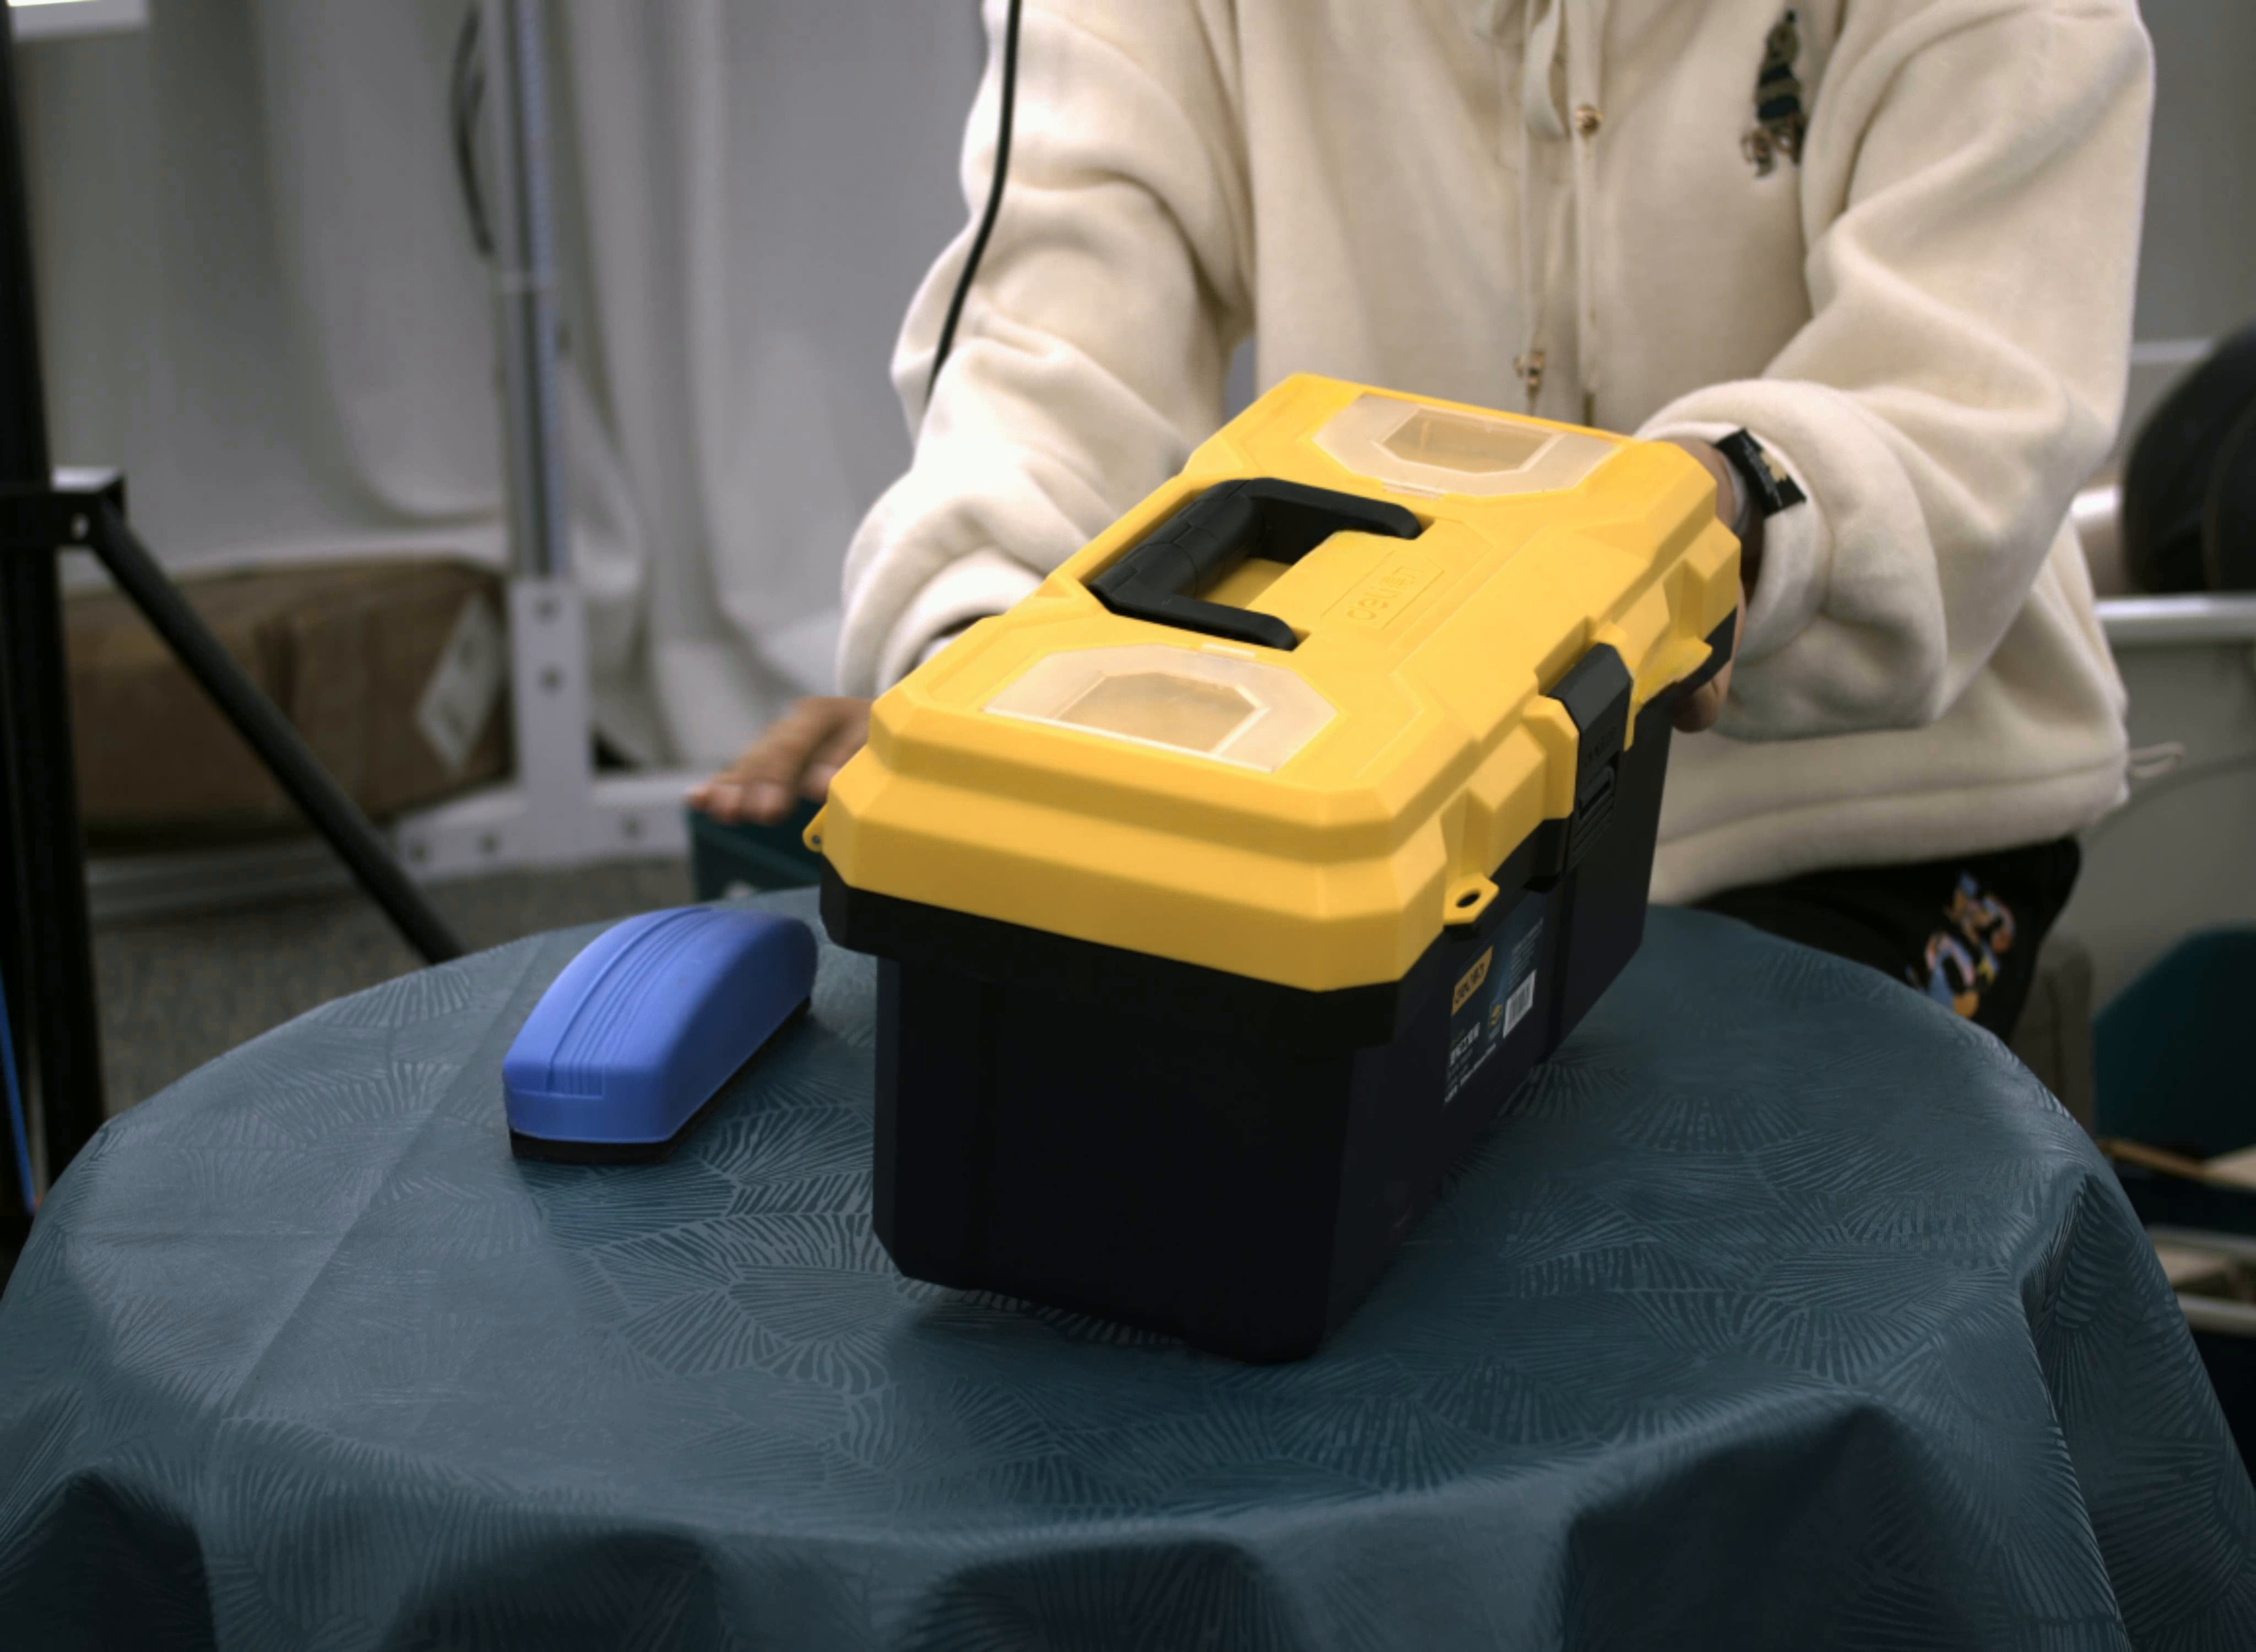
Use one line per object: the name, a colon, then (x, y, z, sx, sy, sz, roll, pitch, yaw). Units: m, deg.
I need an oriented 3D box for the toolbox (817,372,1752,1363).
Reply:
toolbox: (0.051, 0.003, 1.532, 0.183, 0.172, 0.347, 12, 24, 20)

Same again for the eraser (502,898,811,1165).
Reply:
eraser: (-0.146, 0.058, 1.672, 0.054, 0.047, 0.161, 2, 17, 14)
